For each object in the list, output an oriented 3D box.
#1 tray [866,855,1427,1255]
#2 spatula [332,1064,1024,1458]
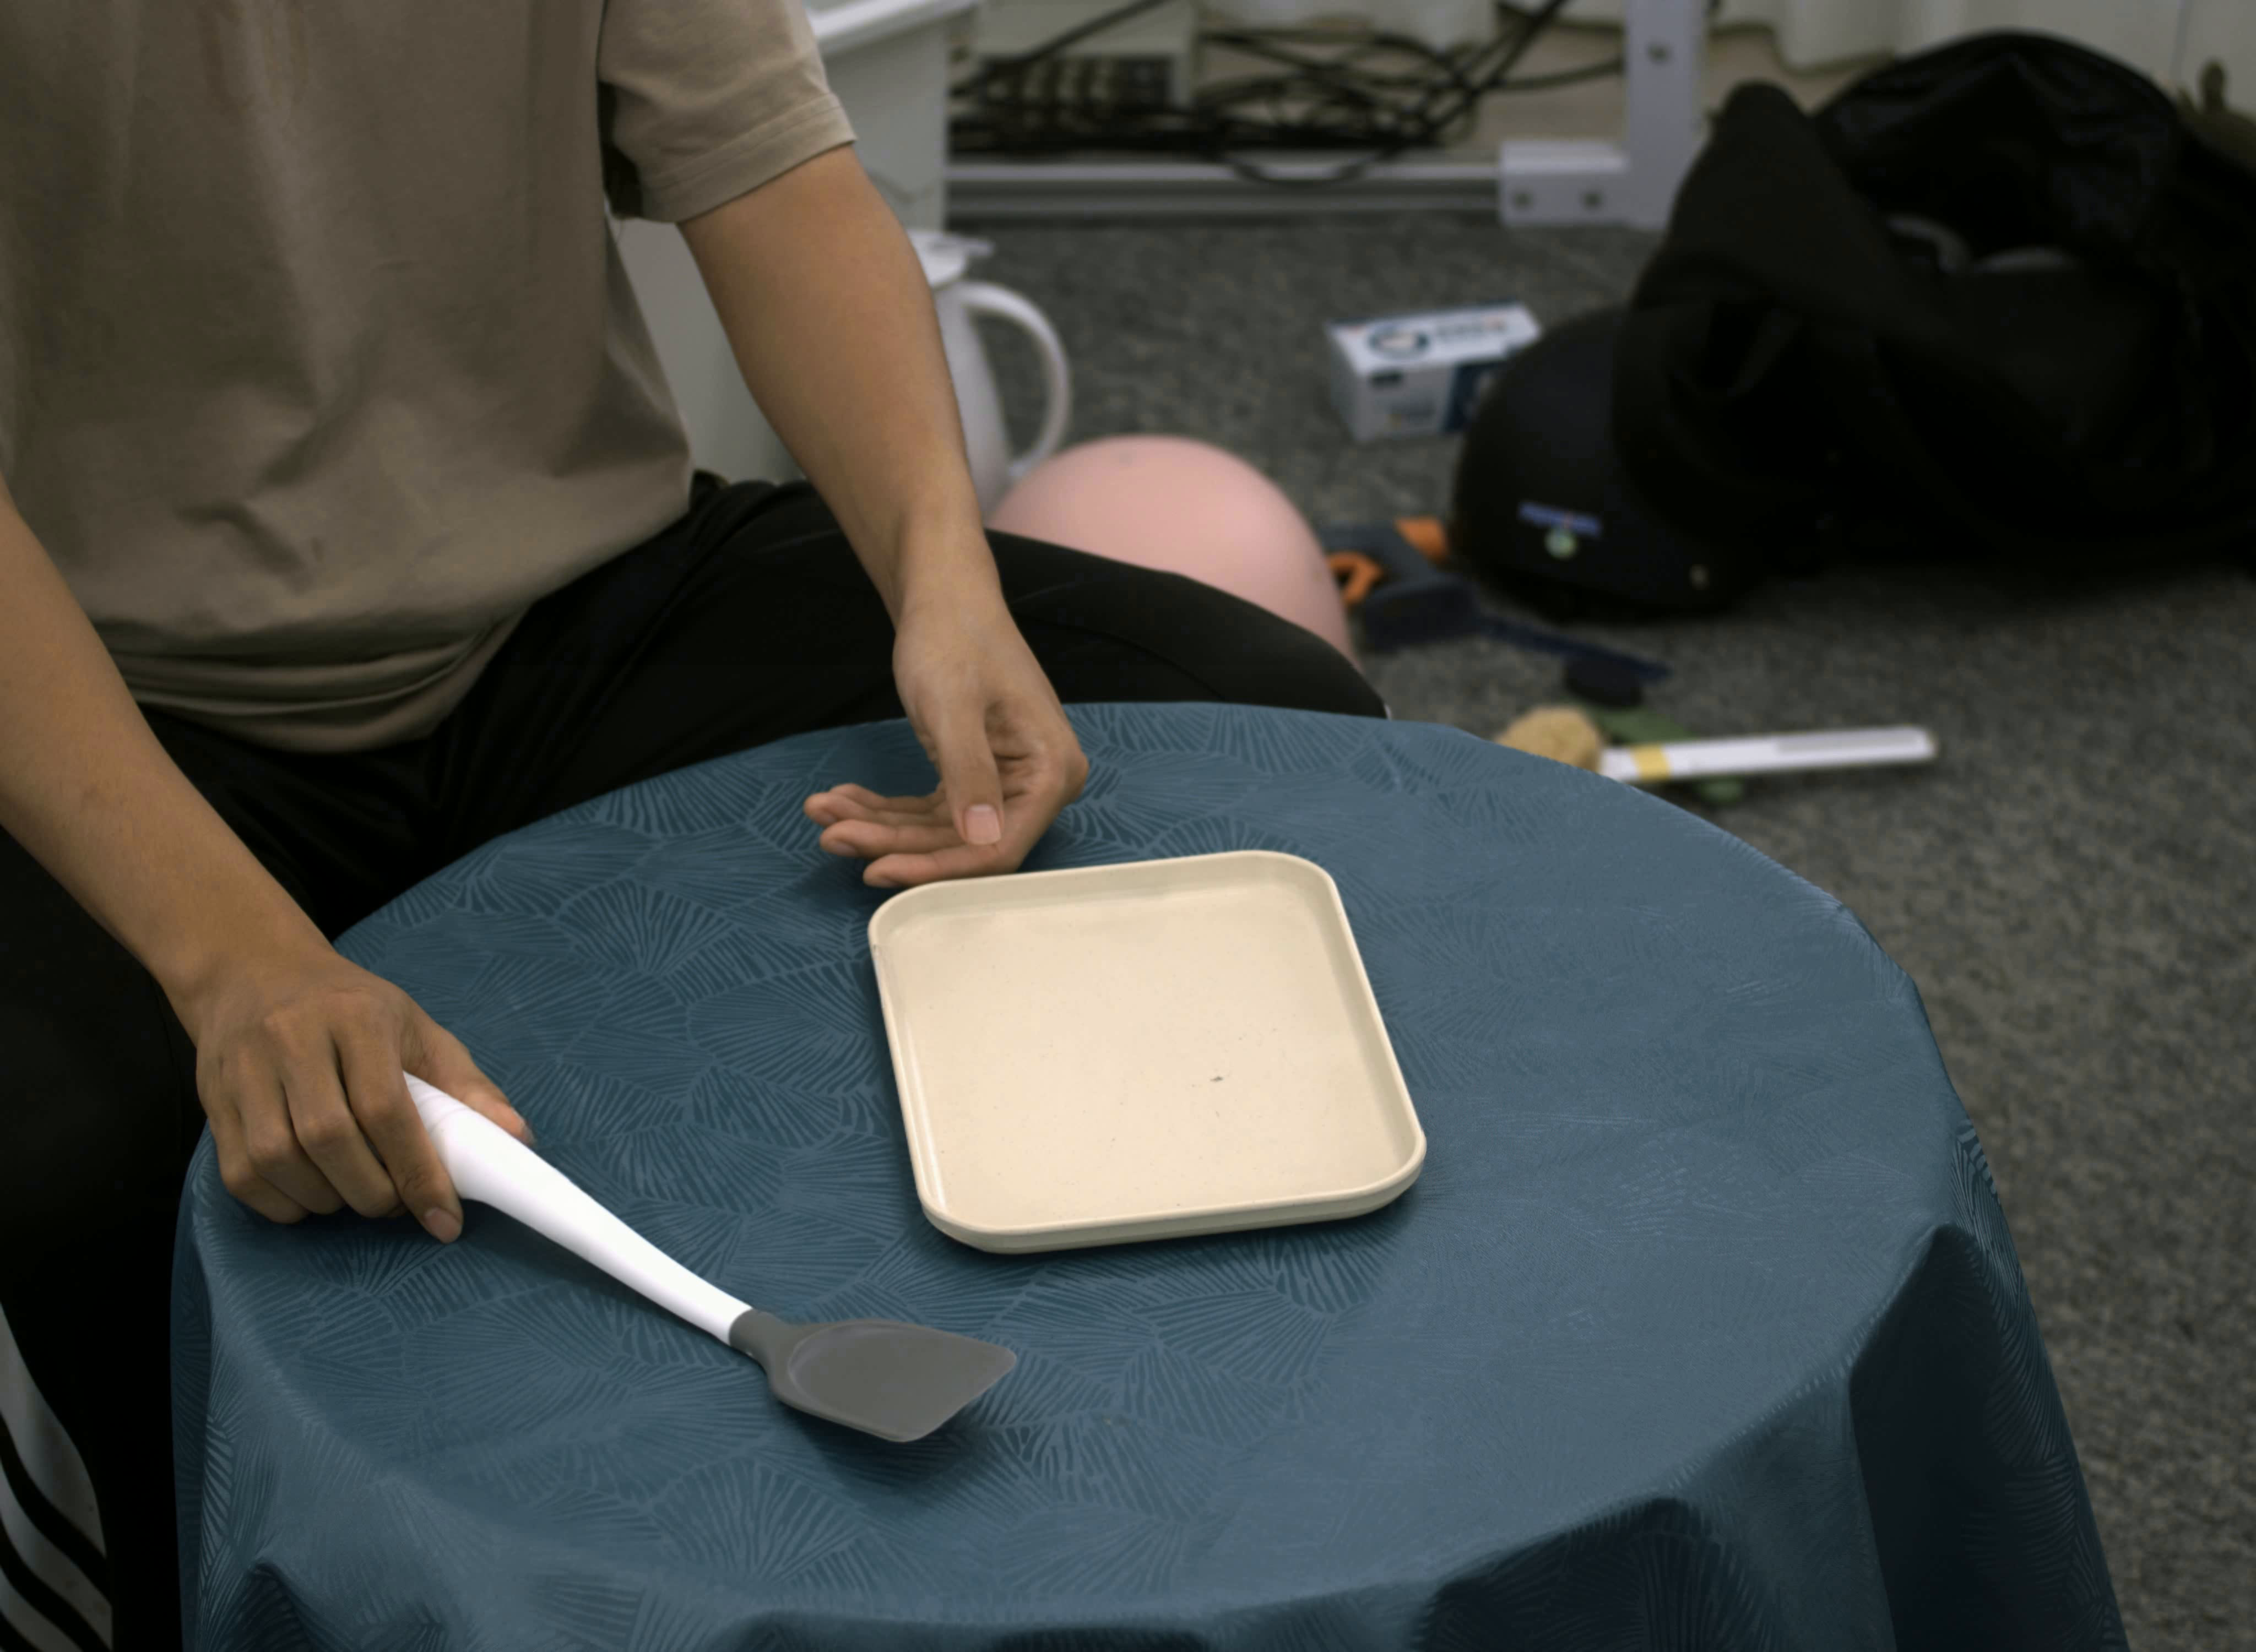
[{"bbox_3d":[0.003,0.077,1.928,0.171,0.017,0.243,-5,28,-6],"label":"tray"},{"bbox_3d":[-0.150,0.140,1.799,0.287,0.032,0.059,23,39,37],"label":"spatula"}]
